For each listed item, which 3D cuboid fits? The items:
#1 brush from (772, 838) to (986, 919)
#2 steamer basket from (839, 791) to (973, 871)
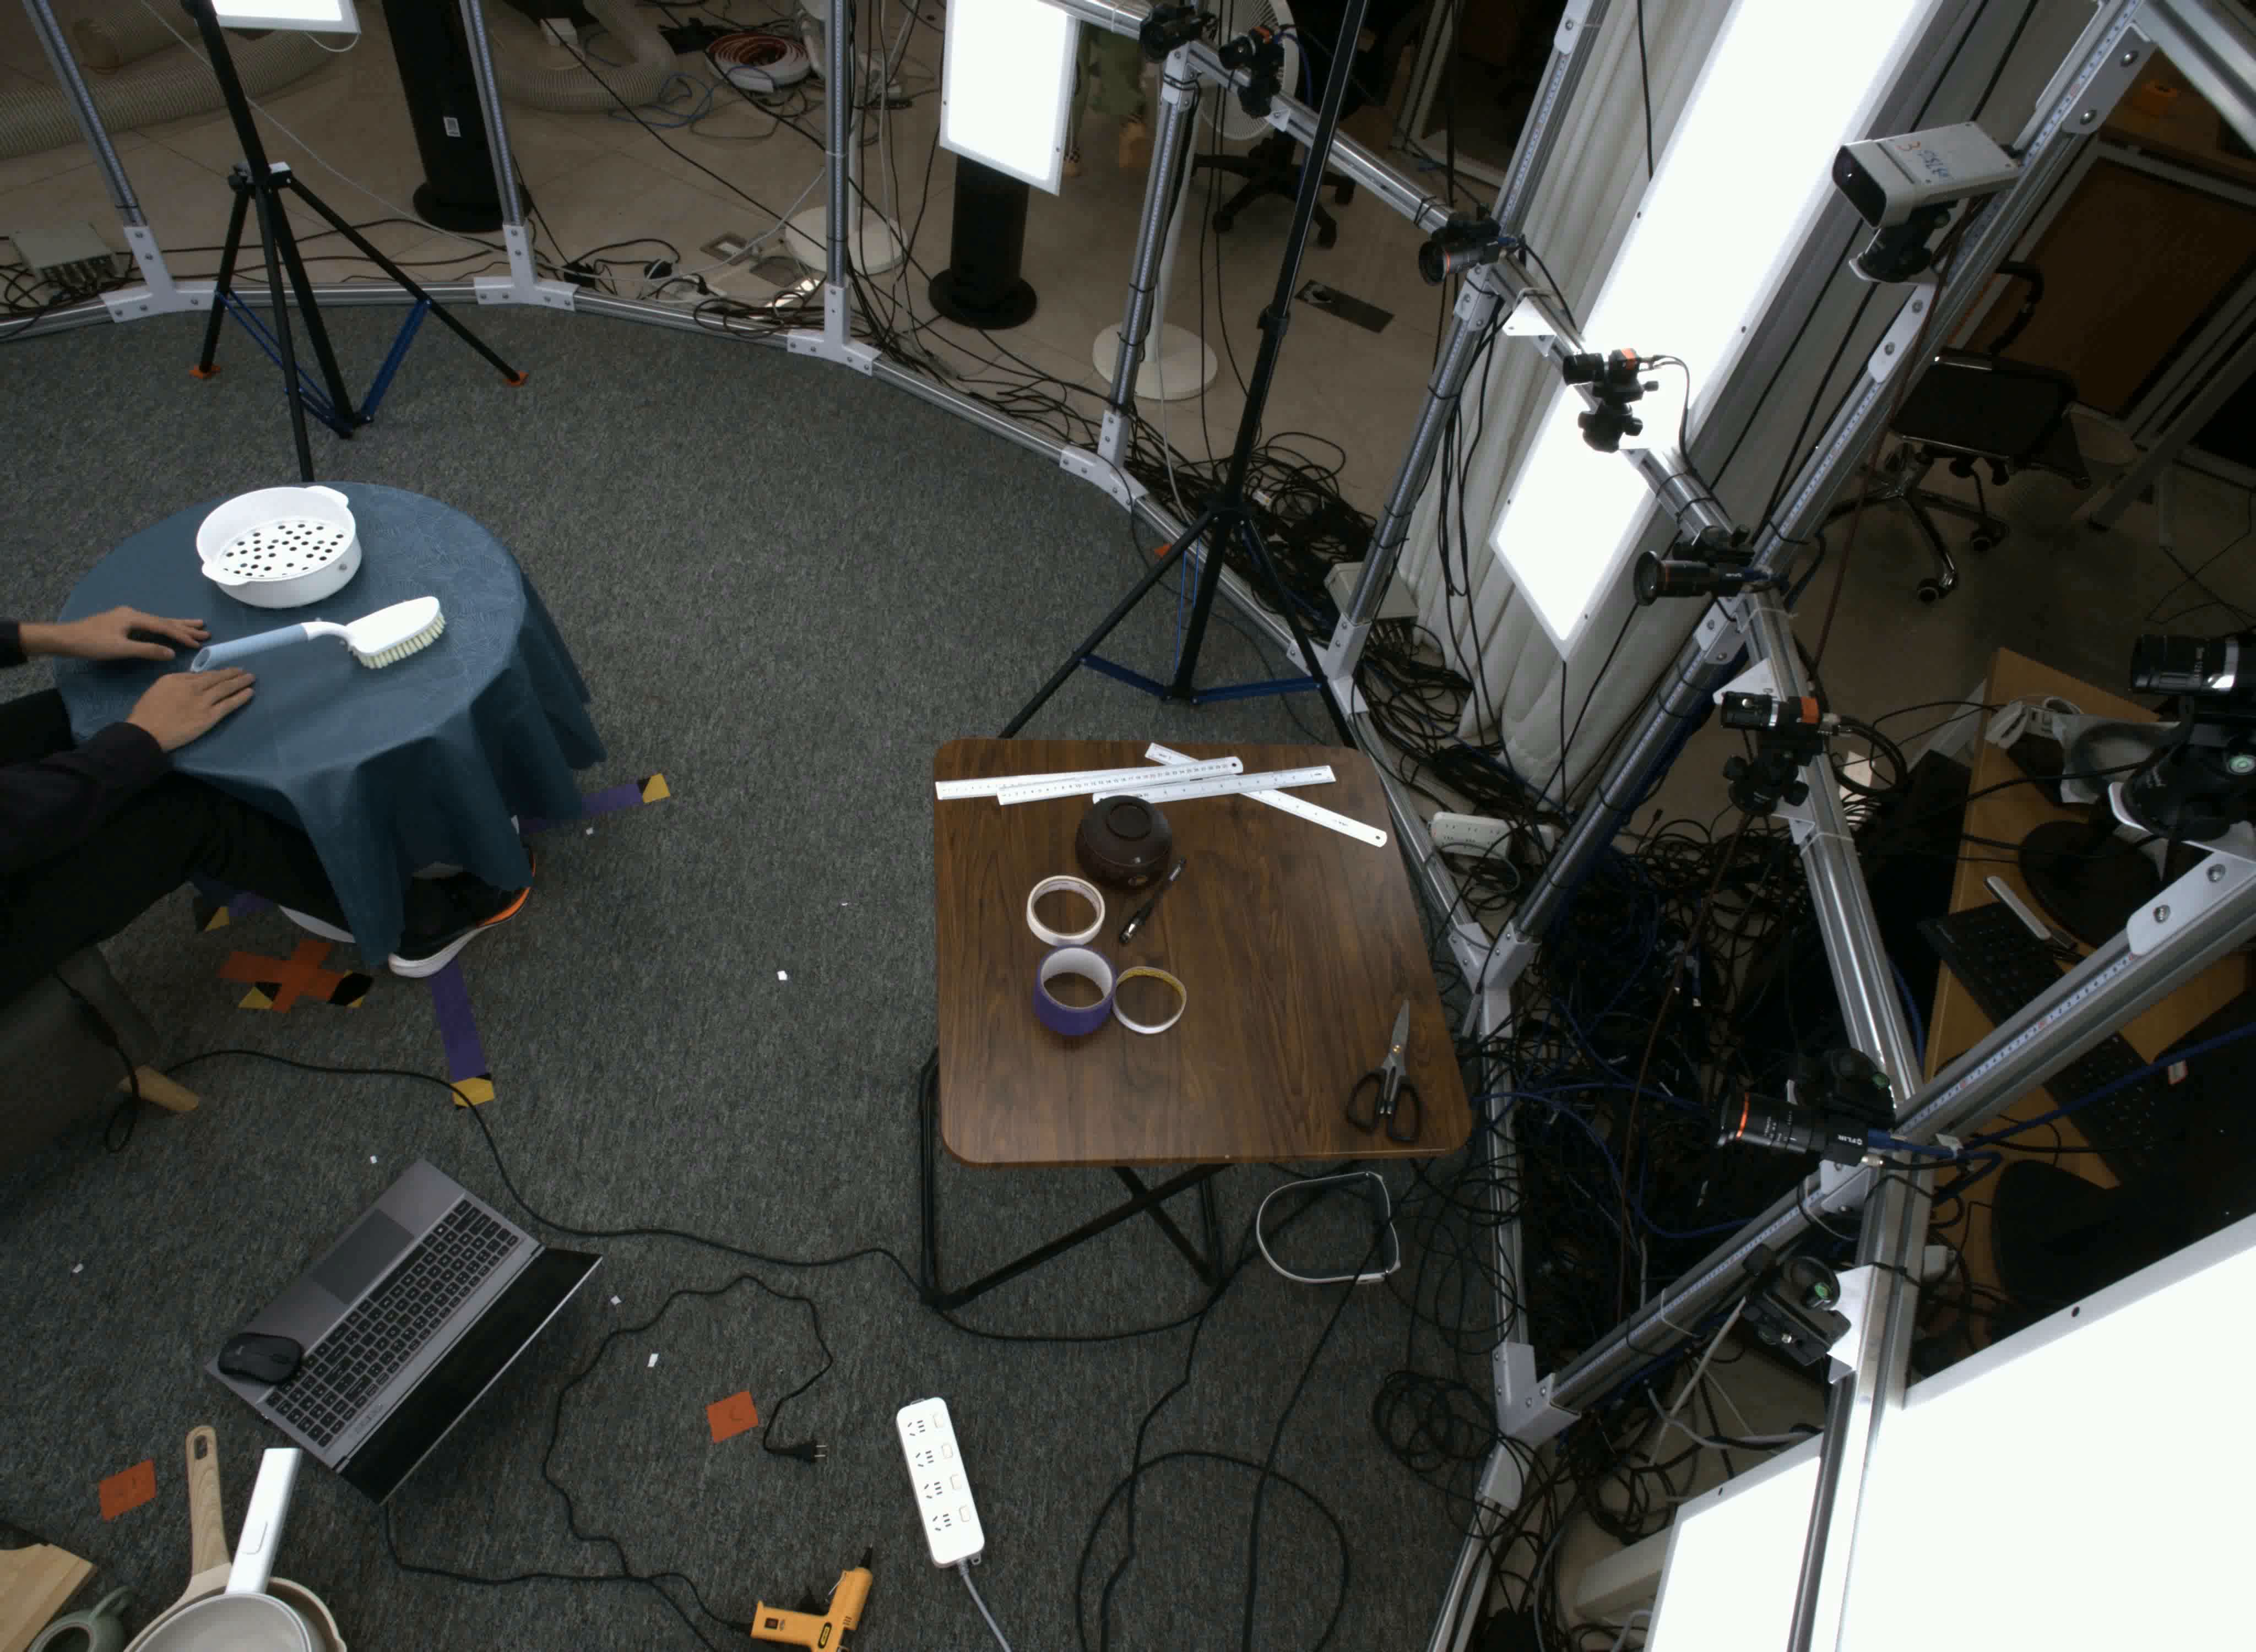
[{"bbox_3d":[-0.371,0.088,1.937,0.329,0.084,0.082,11,-16,-22],"label":"brush"},{"bbox_3d":[-0.365,0.007,2.149,0.233,0.071,0.194,-11,29,-37],"label":"steamer basket"}]
